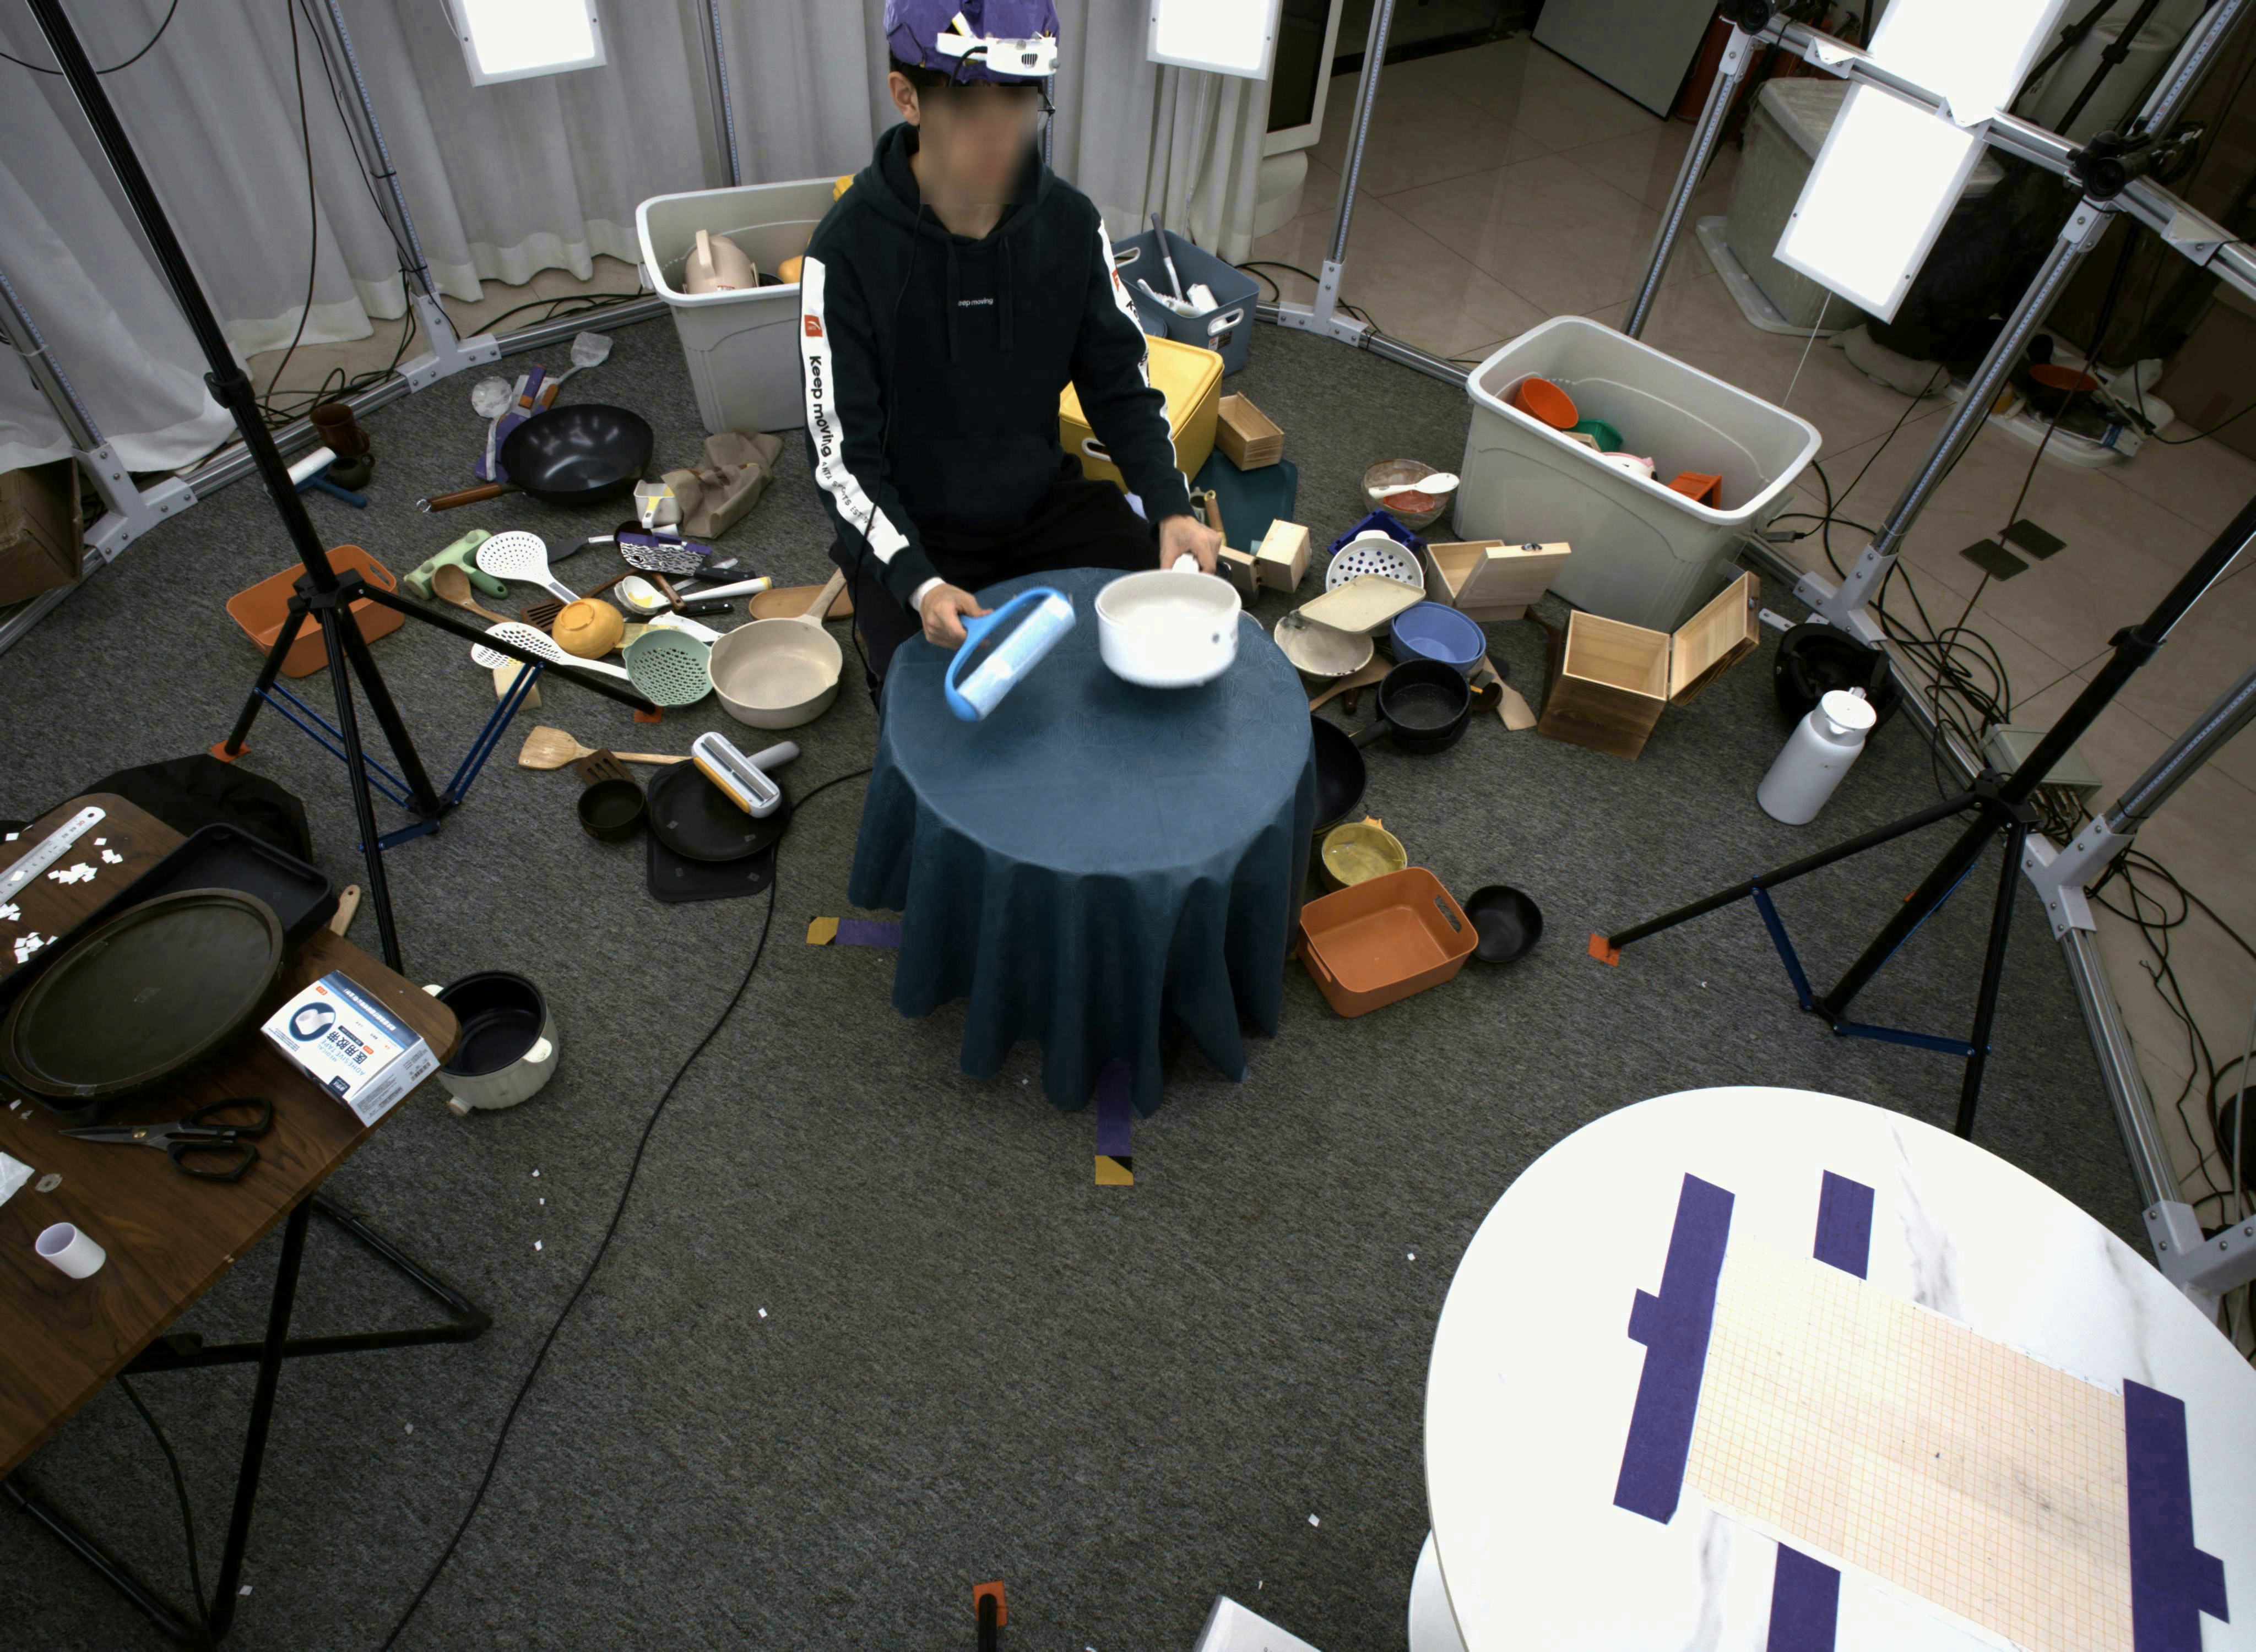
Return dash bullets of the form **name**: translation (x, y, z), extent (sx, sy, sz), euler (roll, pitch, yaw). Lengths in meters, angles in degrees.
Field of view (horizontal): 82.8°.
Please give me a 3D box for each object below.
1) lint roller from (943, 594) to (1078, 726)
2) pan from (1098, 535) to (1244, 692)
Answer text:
- **lint roller**: translation (-0.196, -0.247, 1.760), extent (0.183, 0.066, 0.231), euler (30, 68, 29)
- **pan**: translation (0.076, -0.311, 1.865), extent (0.201, 0.100, 0.362), euler (6, 35, 11)
